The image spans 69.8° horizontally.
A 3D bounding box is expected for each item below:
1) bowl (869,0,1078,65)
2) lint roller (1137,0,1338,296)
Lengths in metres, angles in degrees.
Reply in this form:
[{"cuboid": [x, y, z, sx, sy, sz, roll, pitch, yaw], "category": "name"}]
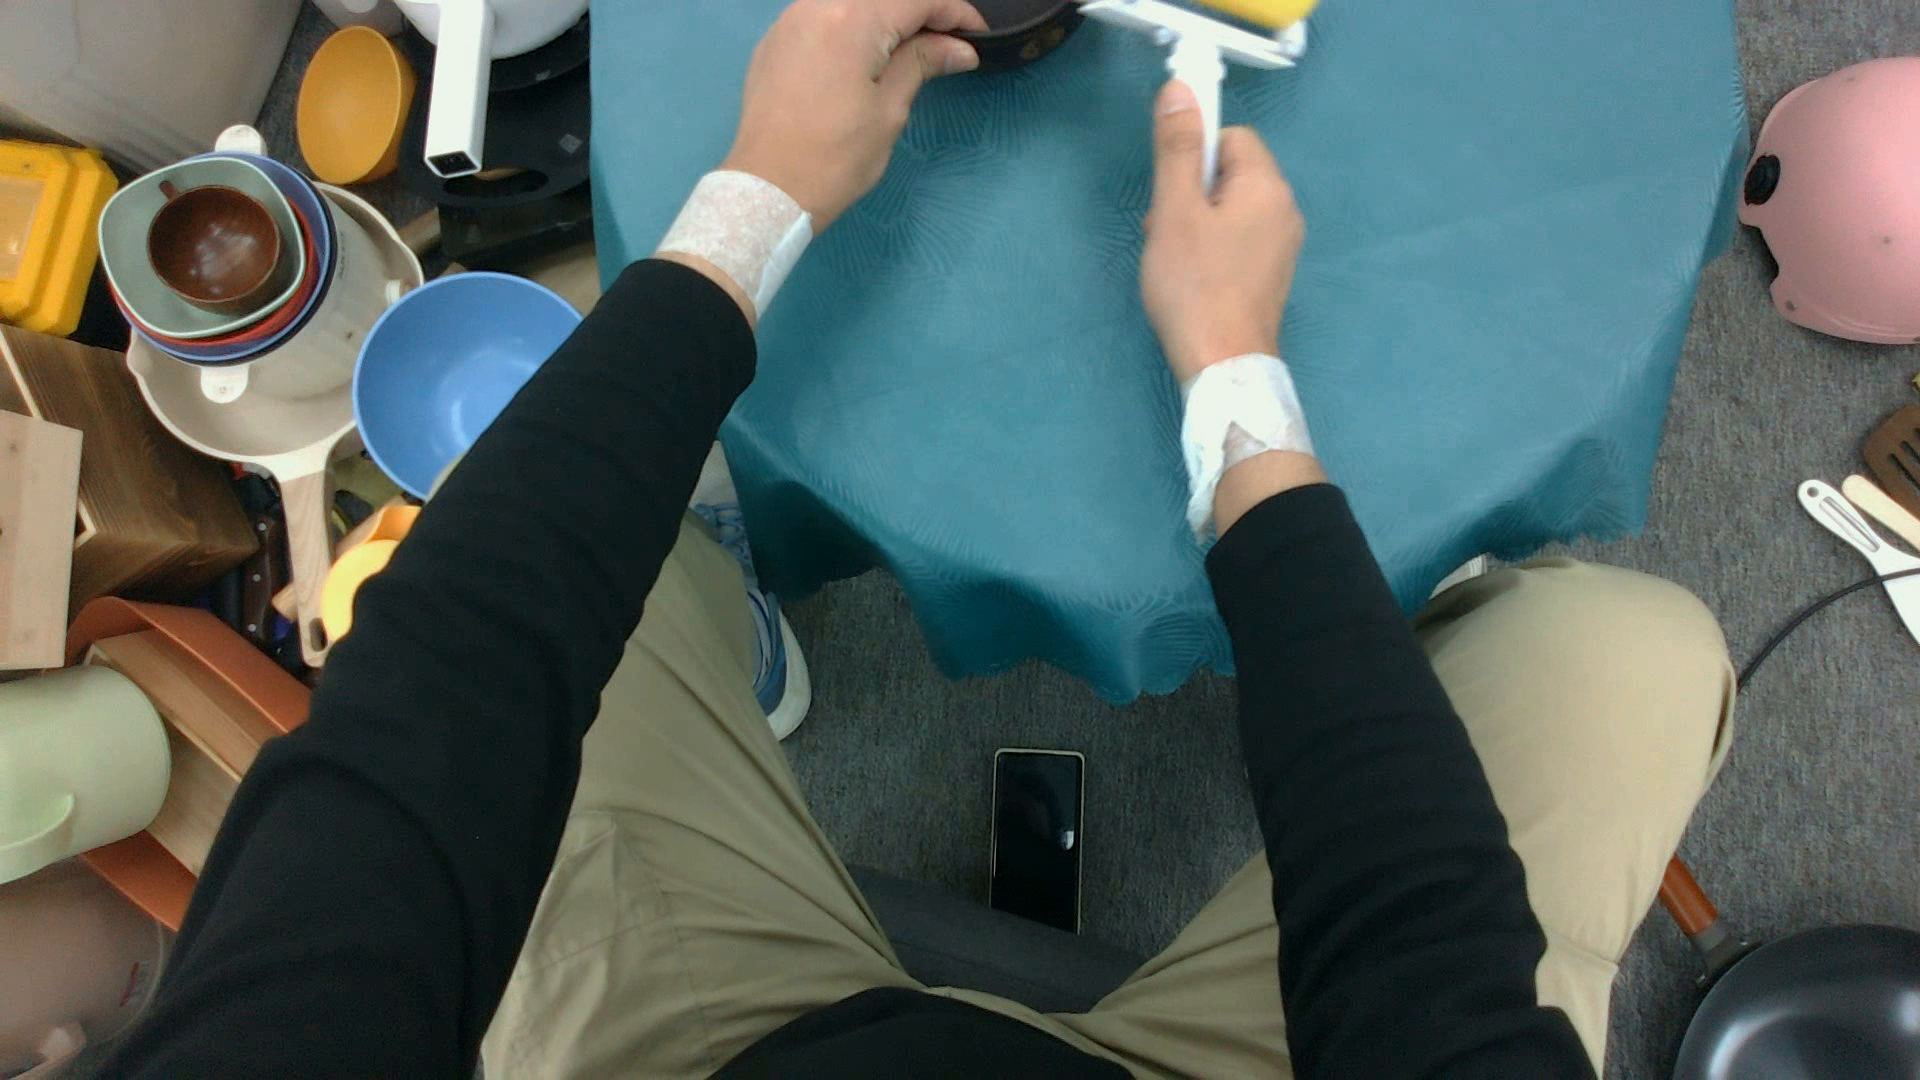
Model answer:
[{"cuboid": [0.008, -0.294, 0.694, 0.118, 0.070, 0.118, 0, 82, 4], "category": "bowl"}, {"cuboid": [0.134, -0.214, 0.648, 0.051, 0.175, 0.192, -8, 88, 44], "category": "lint roller"}]
